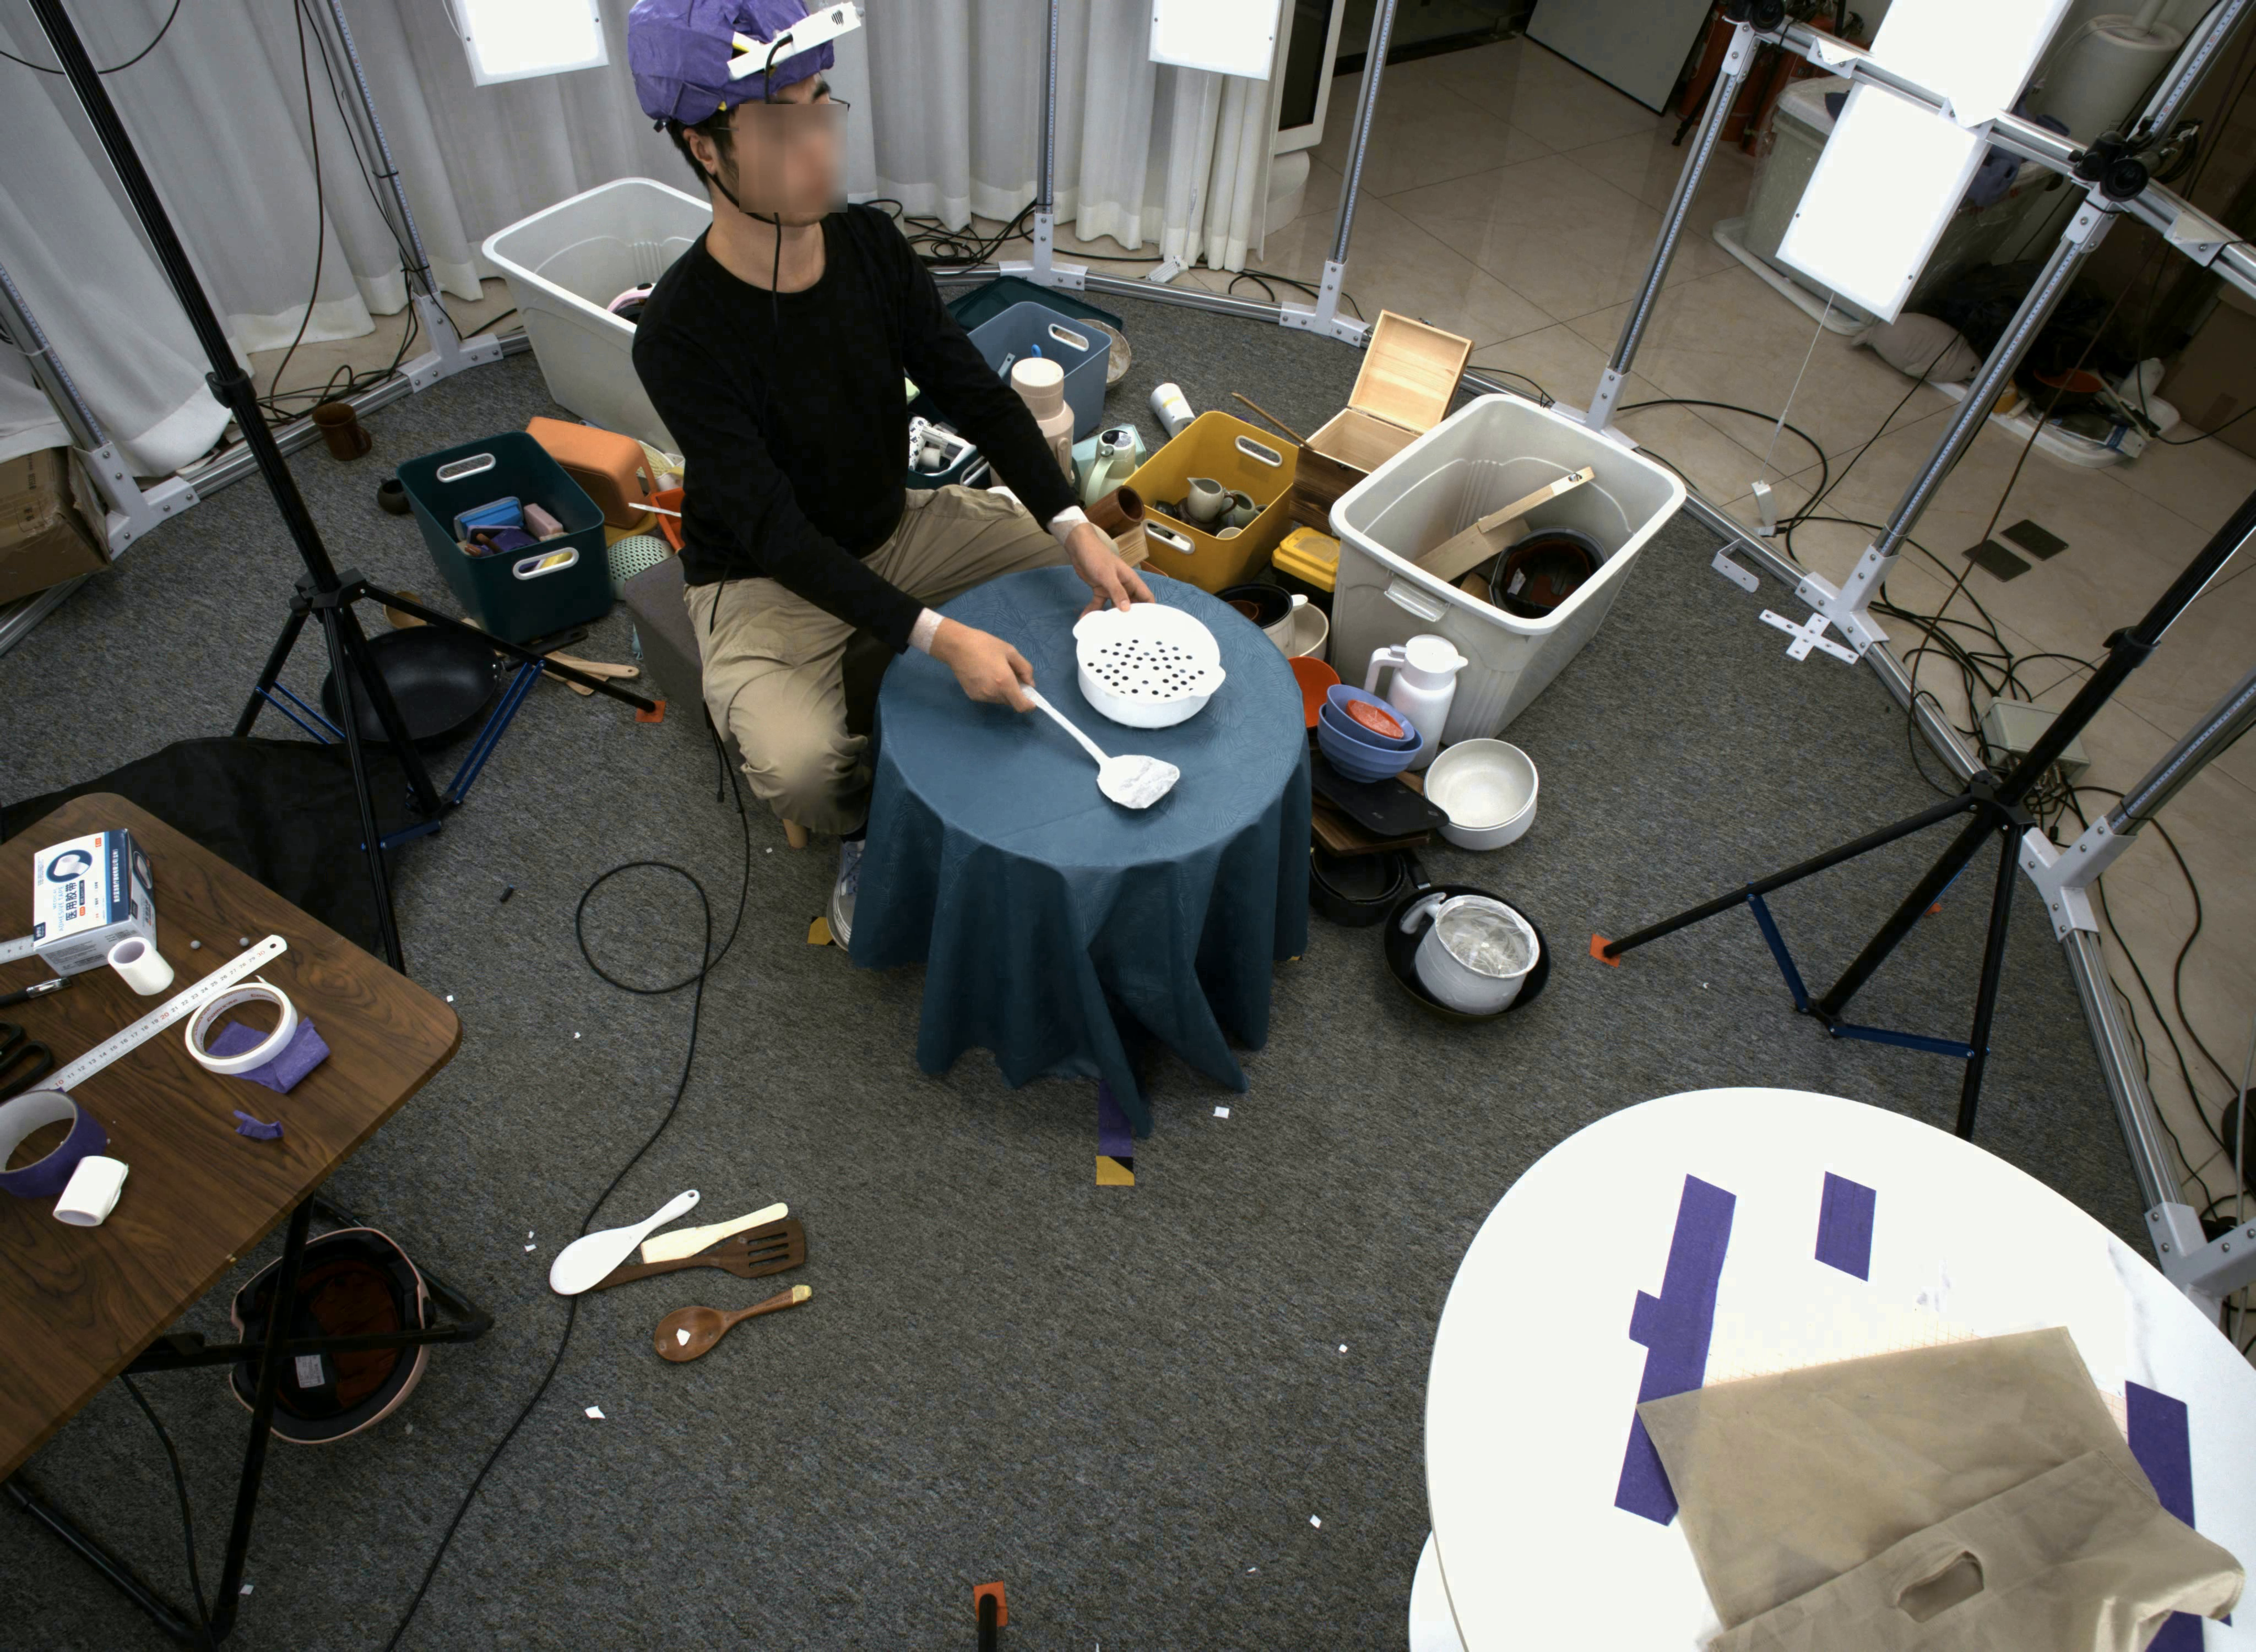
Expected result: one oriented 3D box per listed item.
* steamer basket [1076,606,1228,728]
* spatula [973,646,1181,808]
[{"bbox_3d":[0.031,-0.225,1.822,0.233,0.067,0.205,28,52,20],"label":"steamer basket"},{"bbox_3d":[-0.087,-0.146,1.747,0.369,0.044,0.100,40,60,17],"label":"spatula"}]
